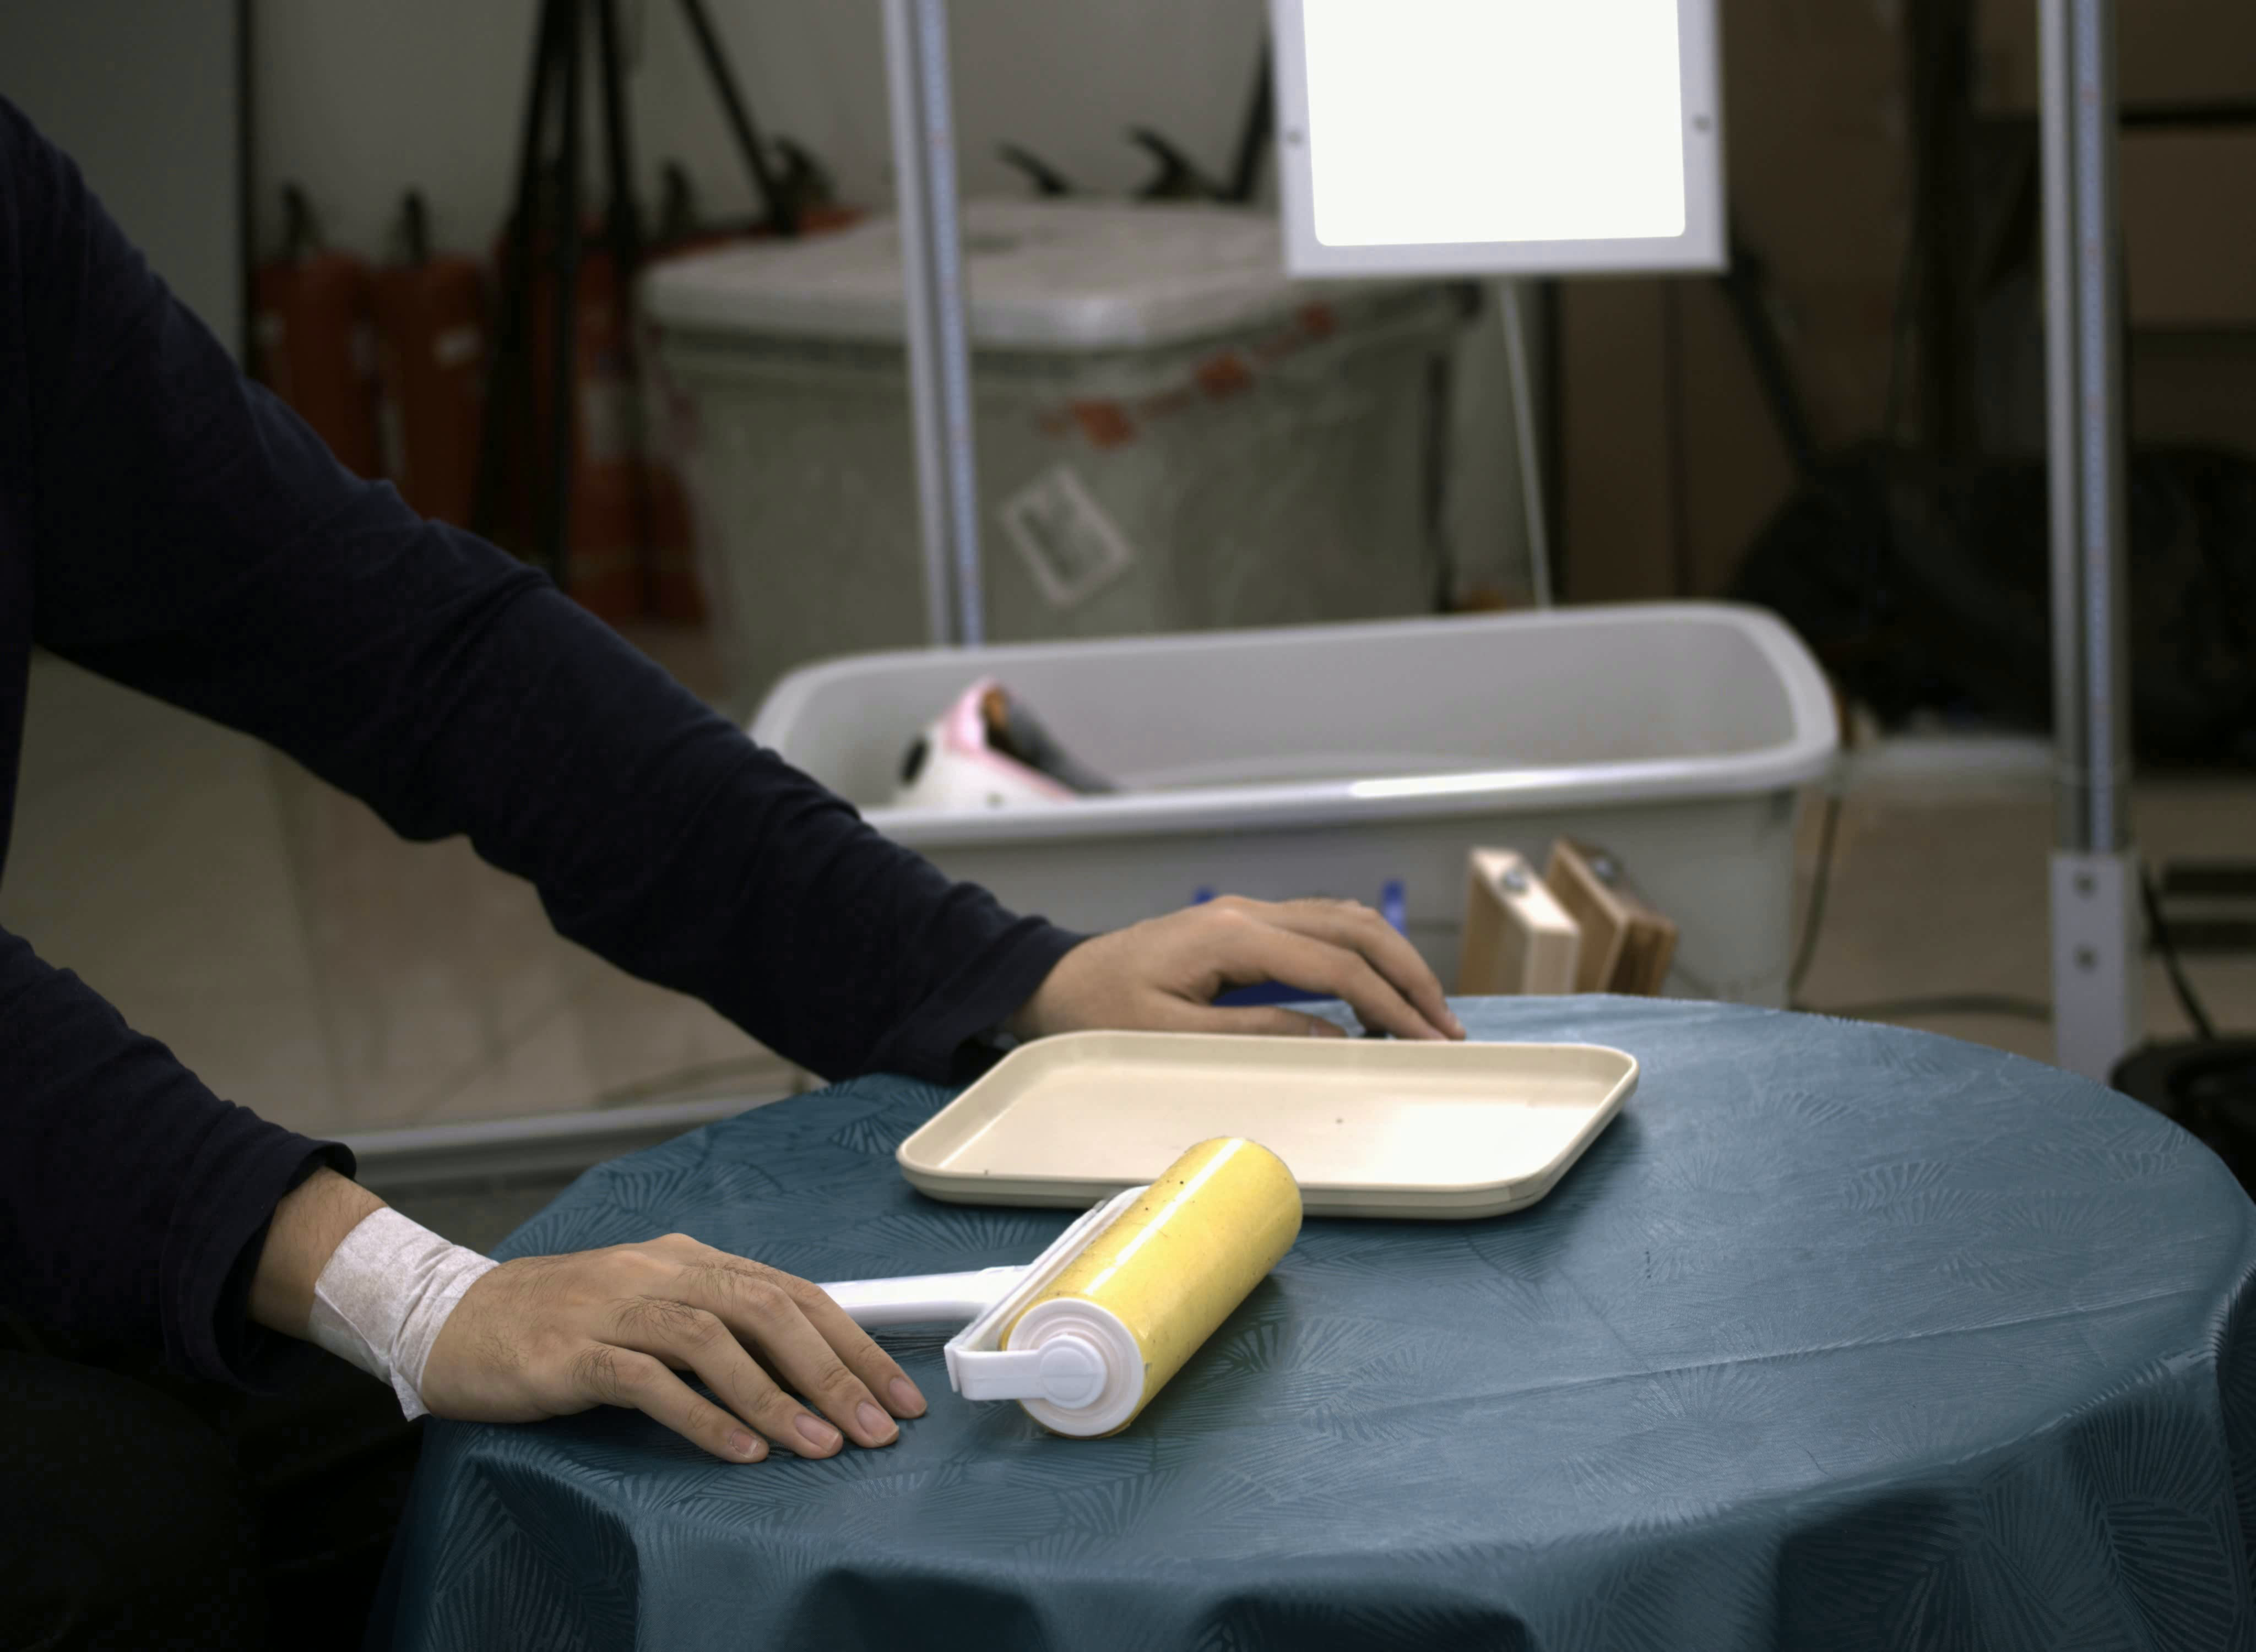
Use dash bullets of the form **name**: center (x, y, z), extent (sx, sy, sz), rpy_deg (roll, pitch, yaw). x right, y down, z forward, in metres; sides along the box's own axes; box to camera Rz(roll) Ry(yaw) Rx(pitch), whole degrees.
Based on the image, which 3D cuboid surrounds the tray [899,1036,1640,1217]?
- **tray**: center (0.052, 0.106, 1.934), extent (0.243, 0.017, 0.168), rpy_deg (0, 14, 22)

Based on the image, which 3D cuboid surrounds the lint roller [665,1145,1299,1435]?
- **lint roller**: center (-0.058, 0.143, 1.755), extent (0.194, 0.051, 0.171), rpy_deg (2, 14, 19)
